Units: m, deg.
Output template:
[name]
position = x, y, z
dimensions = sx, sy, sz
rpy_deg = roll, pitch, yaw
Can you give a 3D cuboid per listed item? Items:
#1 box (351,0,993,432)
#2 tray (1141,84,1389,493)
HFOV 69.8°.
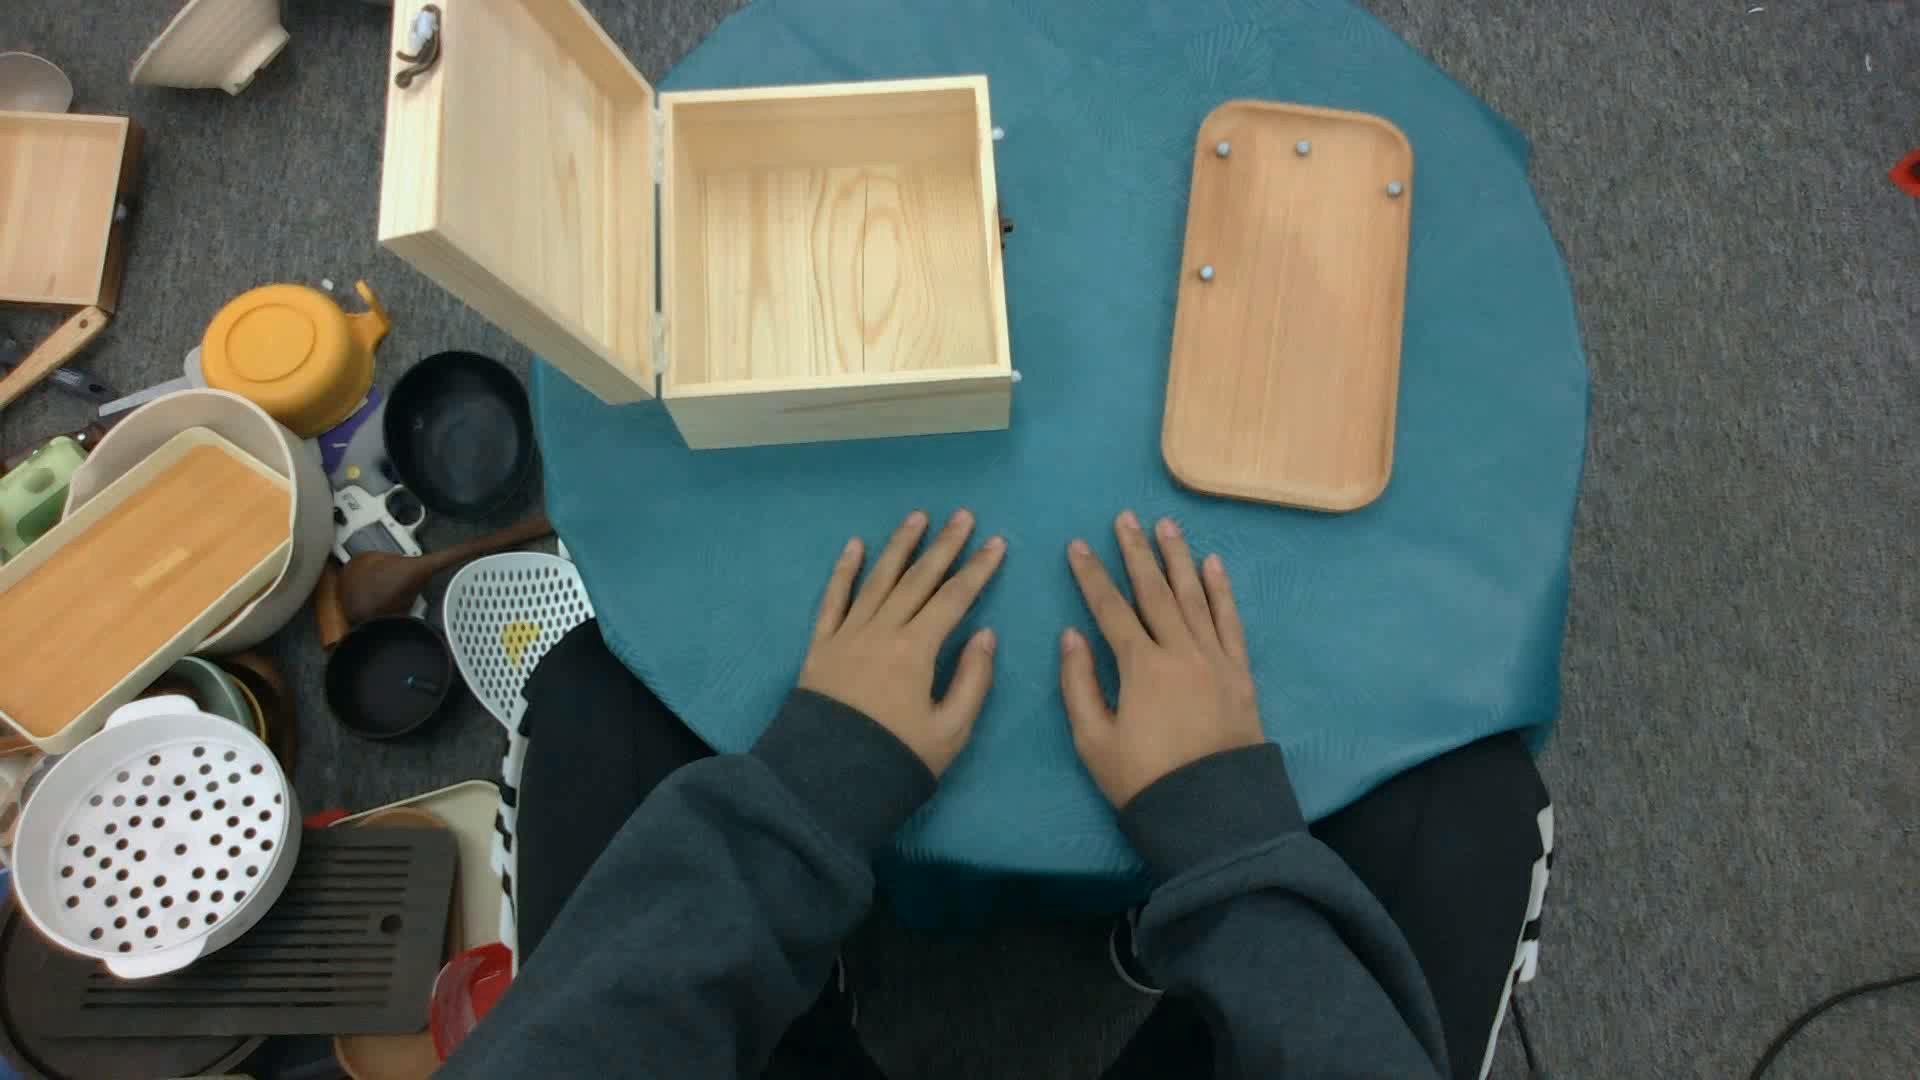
[box]
position = -0.115, -0.182, 0.682
dimensions = 0.265, 0.252, 0.182
rpy_deg = -5, 76, -1
[tray]
position = 0.177, -0.149, 0.793
dimensions = 0.130, 0.023, 0.251
rpy_deg = 7, 73, 5
